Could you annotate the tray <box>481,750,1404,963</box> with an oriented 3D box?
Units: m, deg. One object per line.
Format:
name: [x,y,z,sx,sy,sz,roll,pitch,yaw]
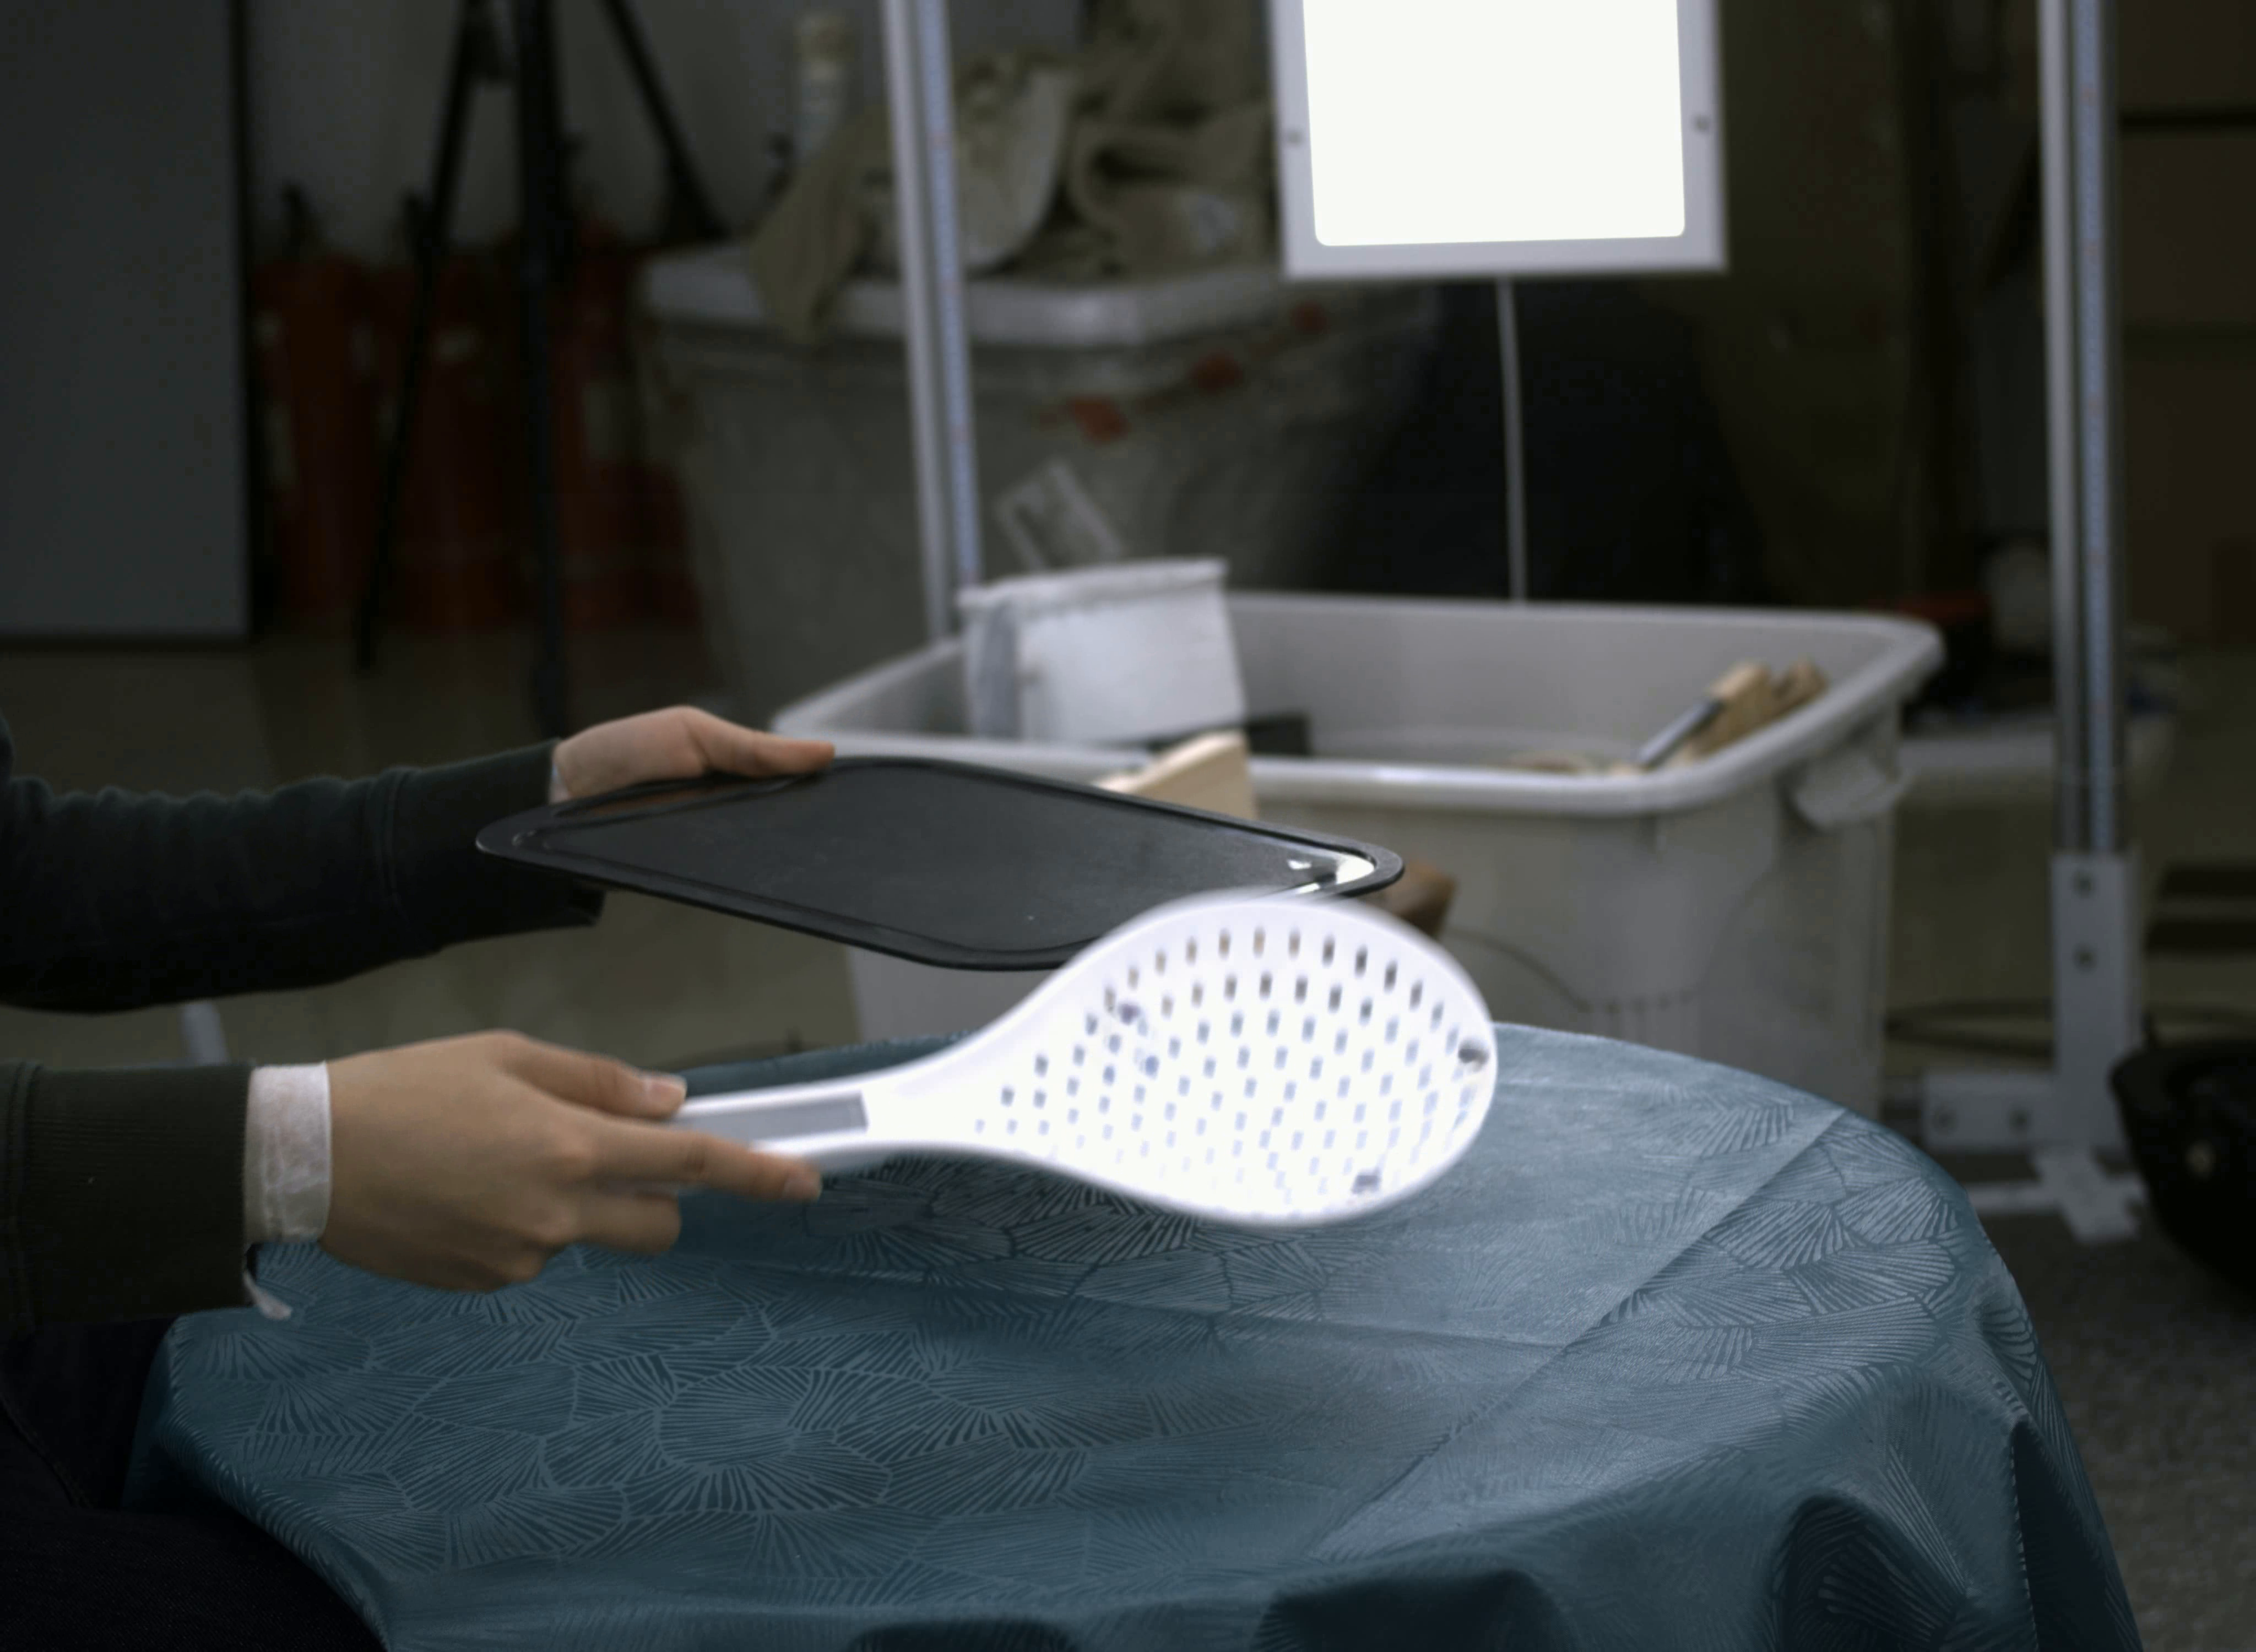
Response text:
tray: [-0.074,0.006,1.919,0.206,0.010,0.332,-13,17,-40]

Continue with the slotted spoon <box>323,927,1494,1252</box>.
slotted spoon: [-0.063,0.092,1.640,0.345,0.046,0.136,-2,41,-11]
